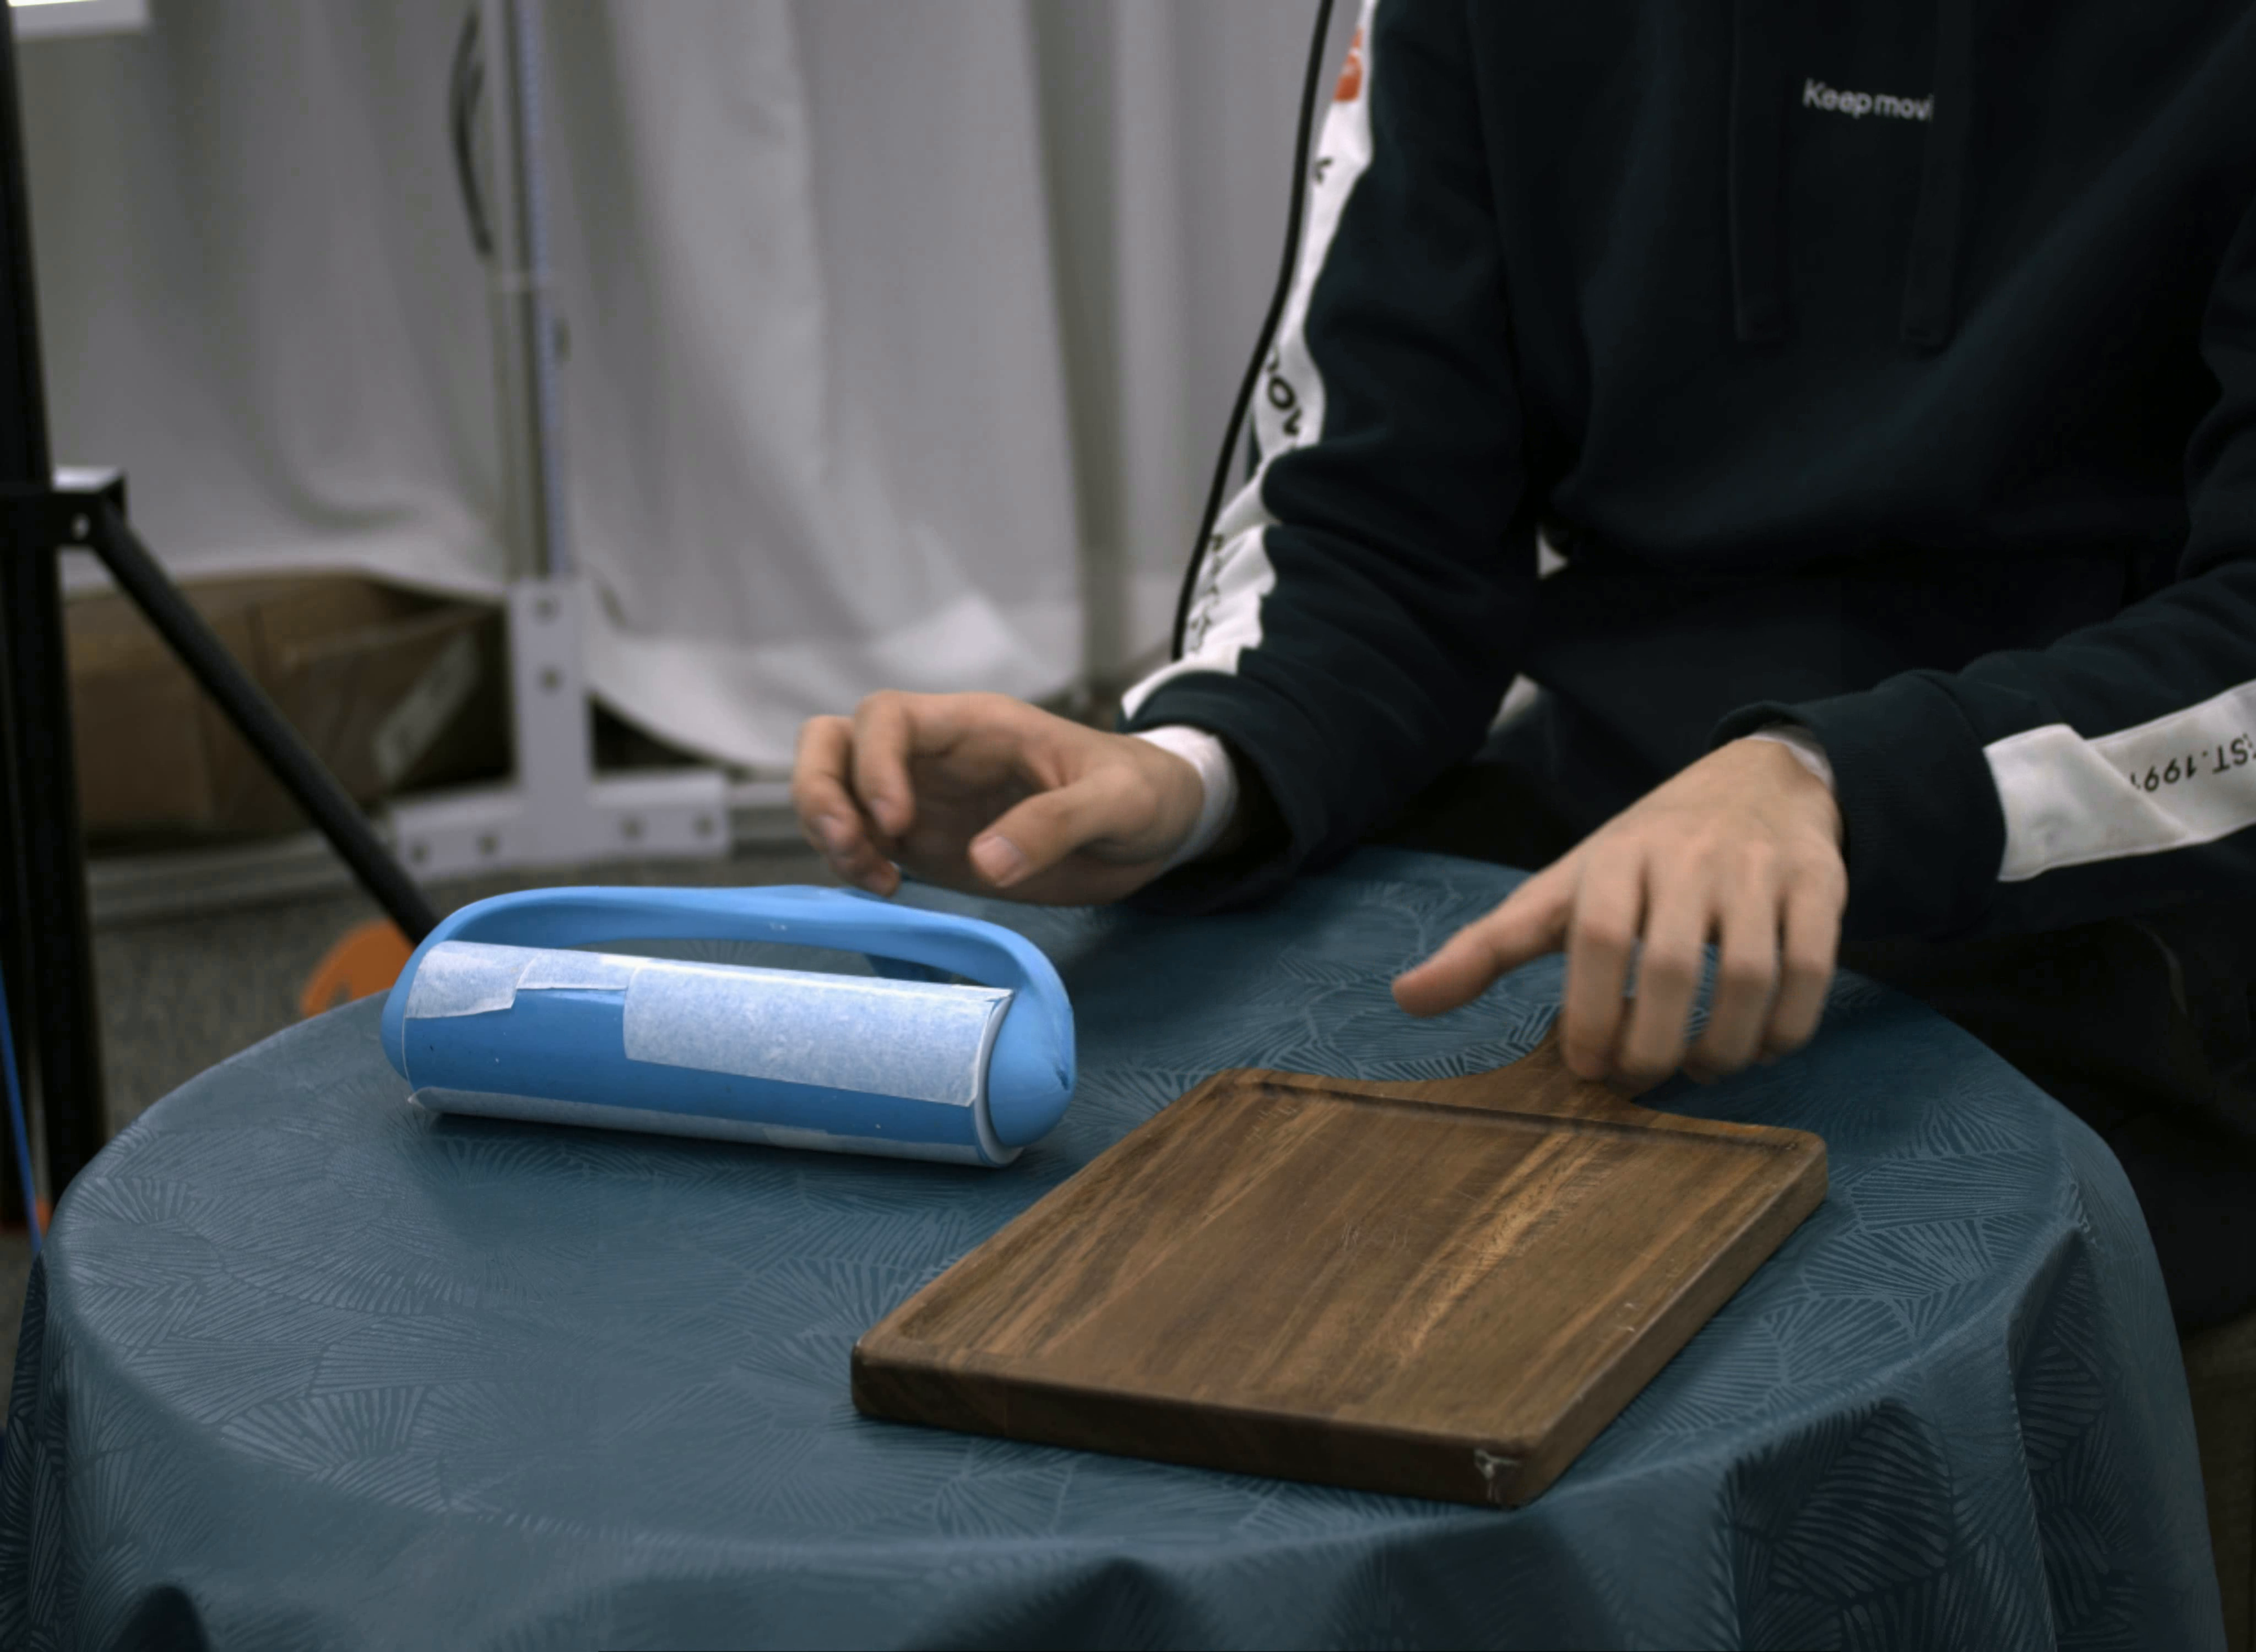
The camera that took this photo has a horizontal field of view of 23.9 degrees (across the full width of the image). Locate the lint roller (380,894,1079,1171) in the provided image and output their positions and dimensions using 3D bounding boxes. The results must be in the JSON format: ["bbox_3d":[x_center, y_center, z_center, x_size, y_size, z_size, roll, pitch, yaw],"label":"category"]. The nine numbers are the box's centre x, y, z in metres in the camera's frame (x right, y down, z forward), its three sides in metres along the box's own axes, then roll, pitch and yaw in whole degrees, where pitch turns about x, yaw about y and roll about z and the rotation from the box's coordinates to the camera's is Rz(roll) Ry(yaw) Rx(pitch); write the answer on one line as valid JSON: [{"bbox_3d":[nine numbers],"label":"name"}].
[{"bbox_3d":[-0.104,0.052,1.670,0.231,0.068,0.178,2,17,21],"label":"lint roller"}]

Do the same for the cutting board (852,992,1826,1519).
[{"bbox_3d":[0.084,0.109,1.500,0.204,0.023,0.347,5,18,25],"label":"cutting board"}]
